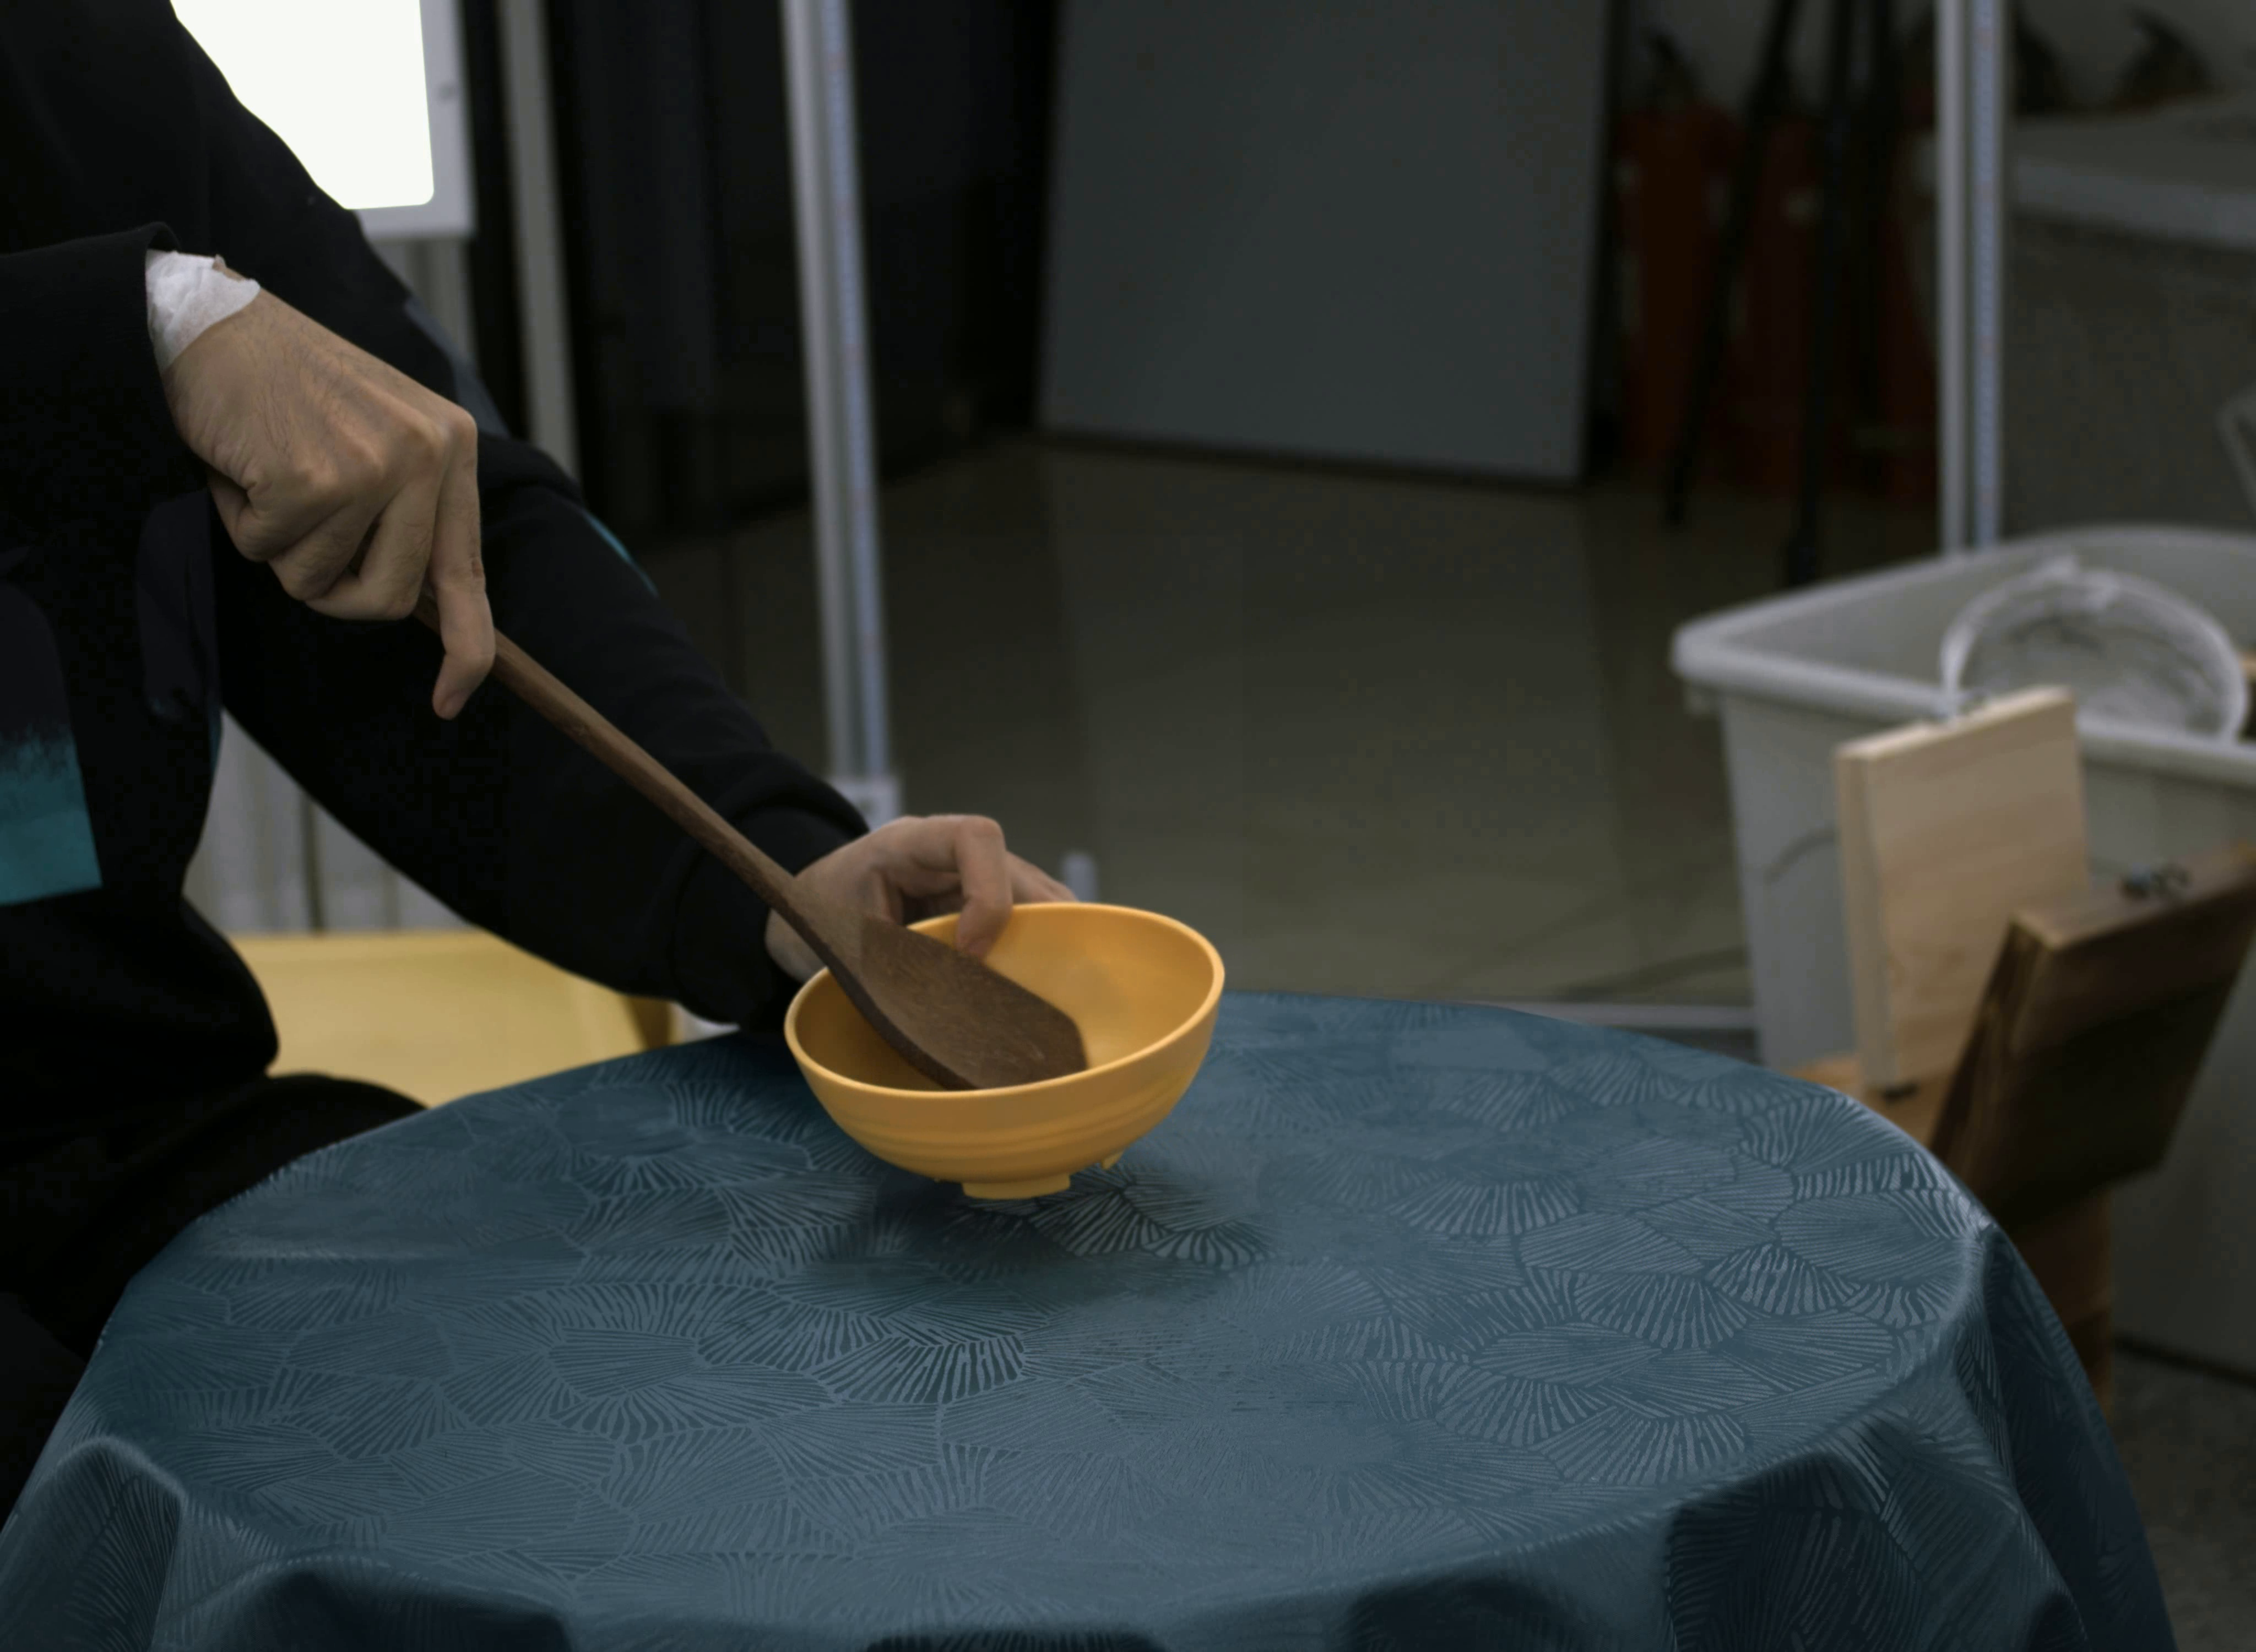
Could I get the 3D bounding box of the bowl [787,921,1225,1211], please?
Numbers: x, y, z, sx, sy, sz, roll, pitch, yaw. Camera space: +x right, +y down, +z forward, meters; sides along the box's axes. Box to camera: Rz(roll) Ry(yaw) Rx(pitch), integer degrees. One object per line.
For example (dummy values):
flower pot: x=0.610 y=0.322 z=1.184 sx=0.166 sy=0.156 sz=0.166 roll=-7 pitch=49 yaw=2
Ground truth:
bowl: x=-0.037 y=0.085 z=1.754 sx=0.143 sy=0.060 sz=0.146 roll=-7 pitch=20 yaw=2

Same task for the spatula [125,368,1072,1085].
spatula: x=-0.166 y=-0.025 z=1.741 sx=0.383 sy=0.016 sz=0.096 roll=39 pitch=19 yaw=-8
